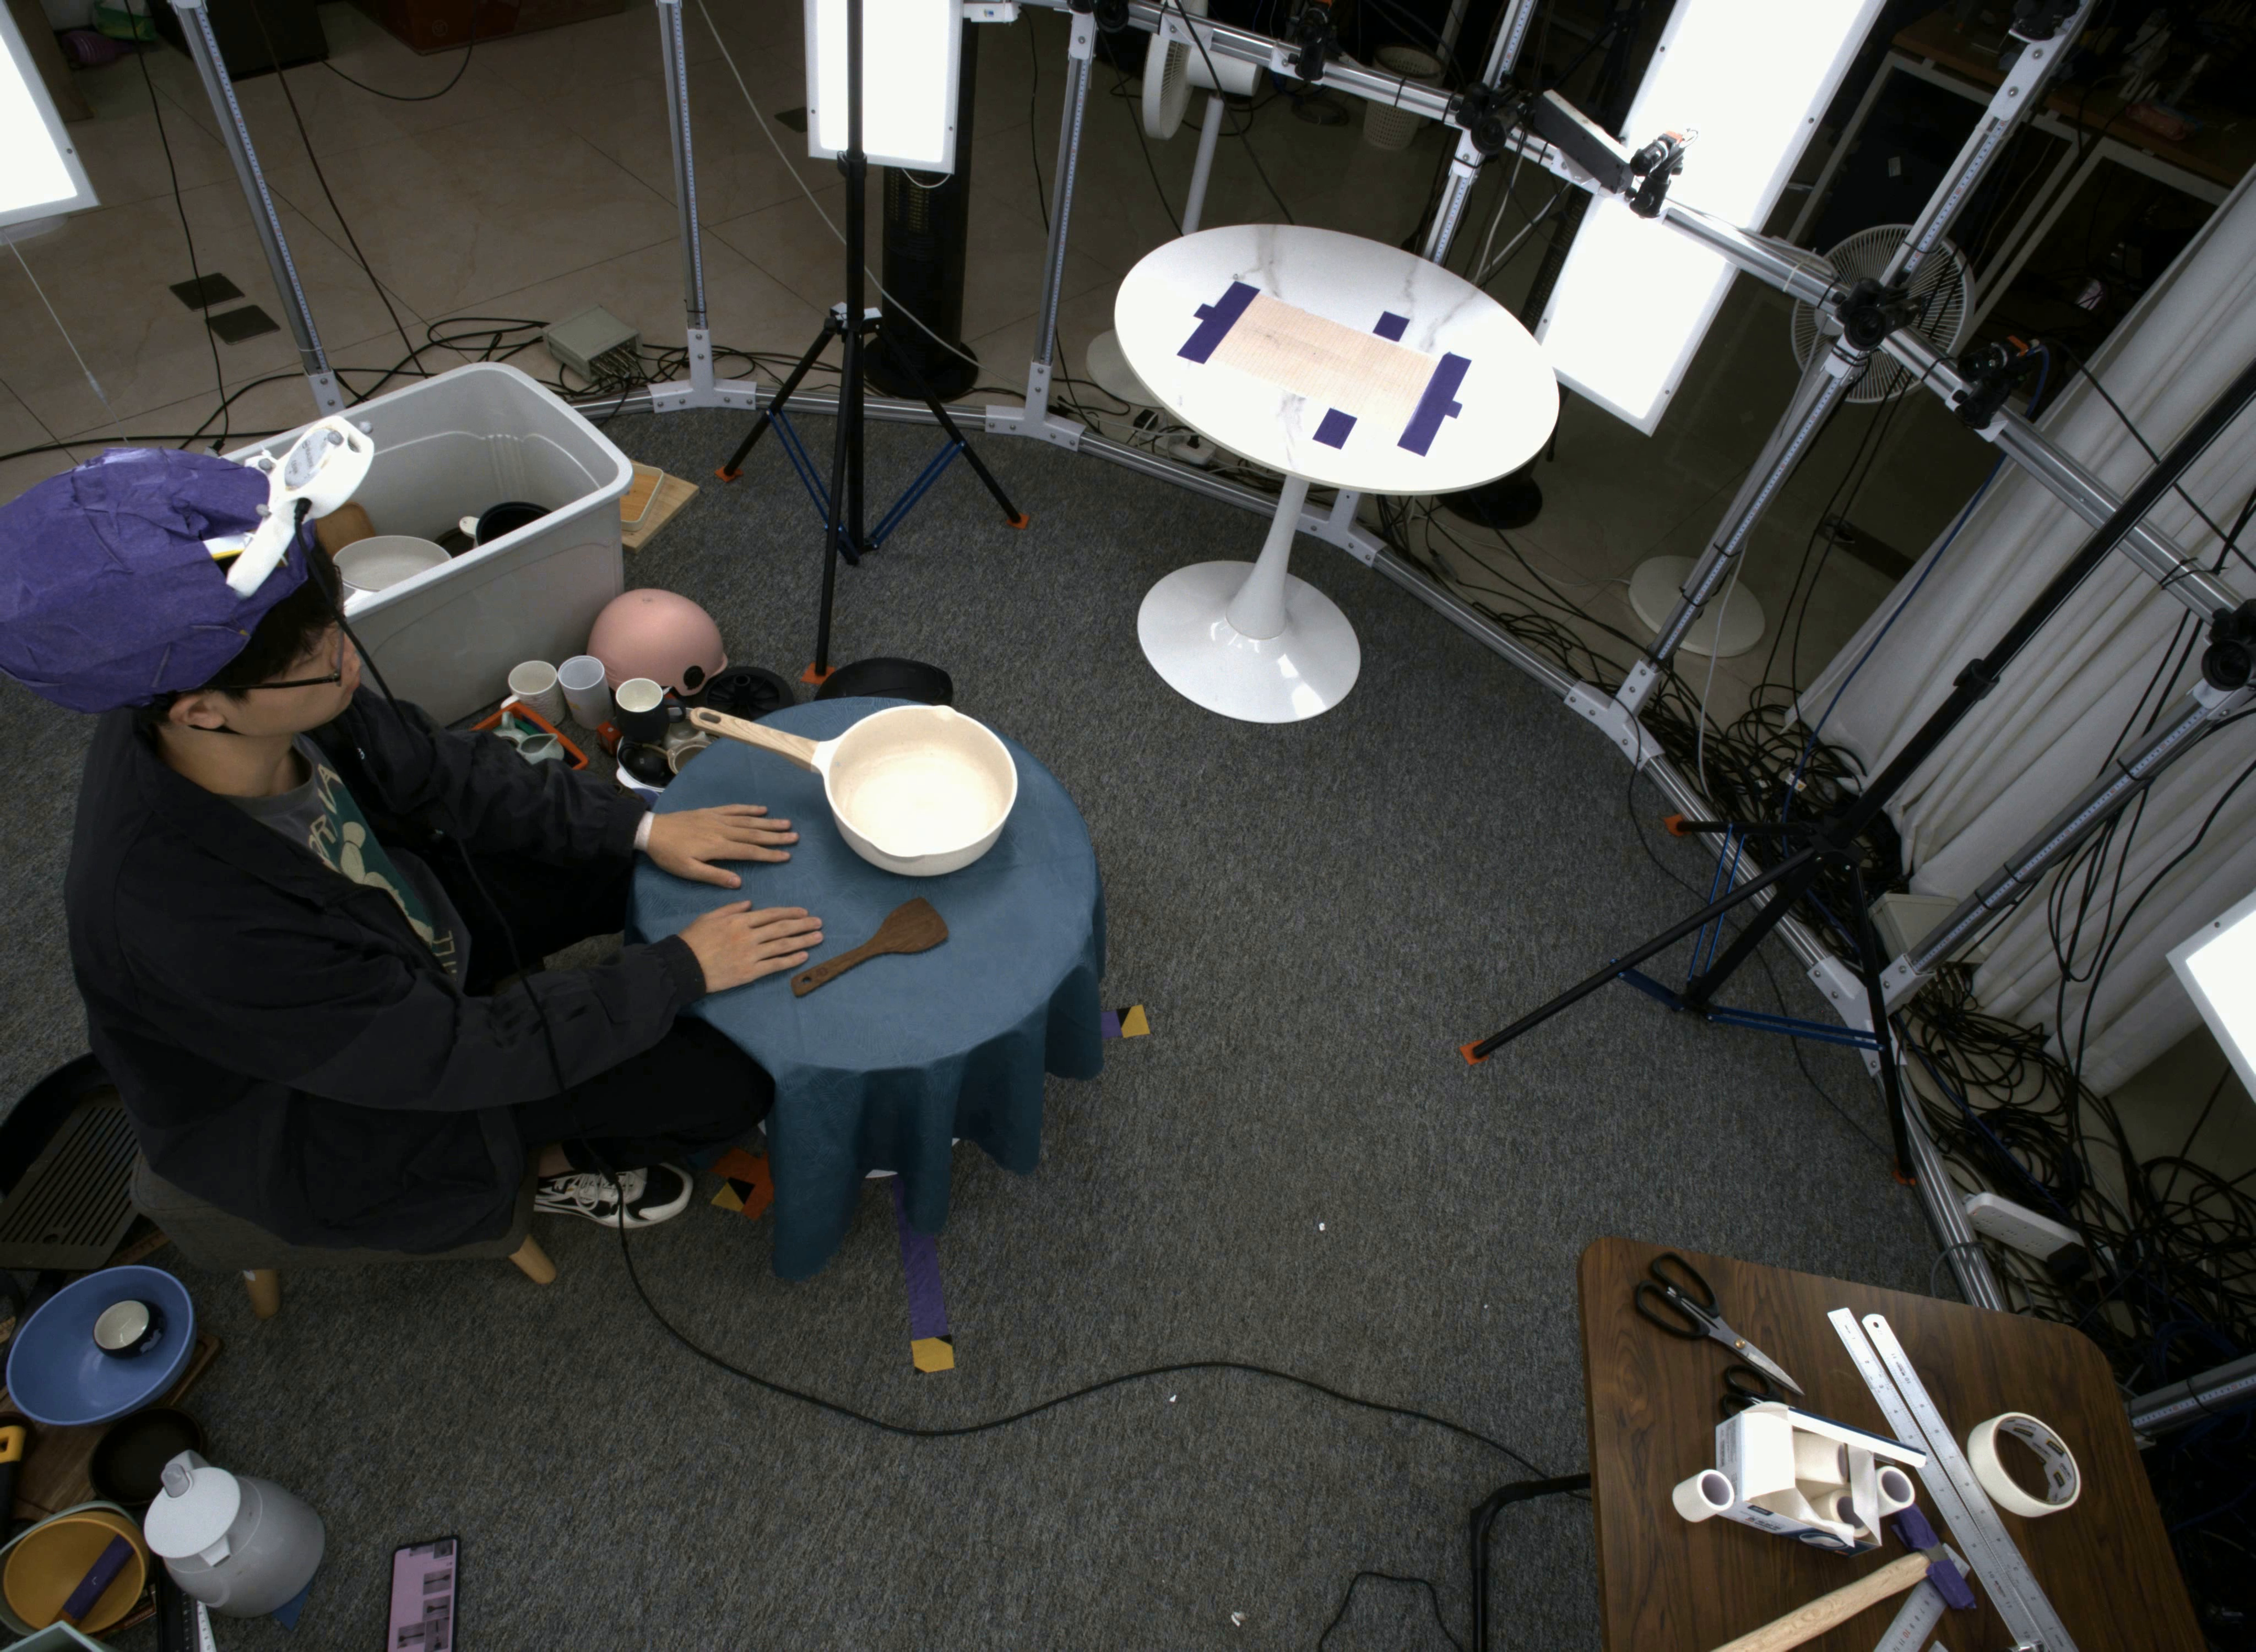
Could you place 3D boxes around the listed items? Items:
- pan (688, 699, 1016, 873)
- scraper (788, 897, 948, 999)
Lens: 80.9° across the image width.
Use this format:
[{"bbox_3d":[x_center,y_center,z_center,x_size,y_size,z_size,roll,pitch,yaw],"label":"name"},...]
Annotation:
[{"bbox_3d":[-0.366,-0.070,1.728,0.432,0.104,0.260,12,54,-4],"label":"pan"},{"bbox_3d":[-0.328,0.157,1.628,0.212,0.011,0.074,-28,64,-28],"label":"scraper"}]
